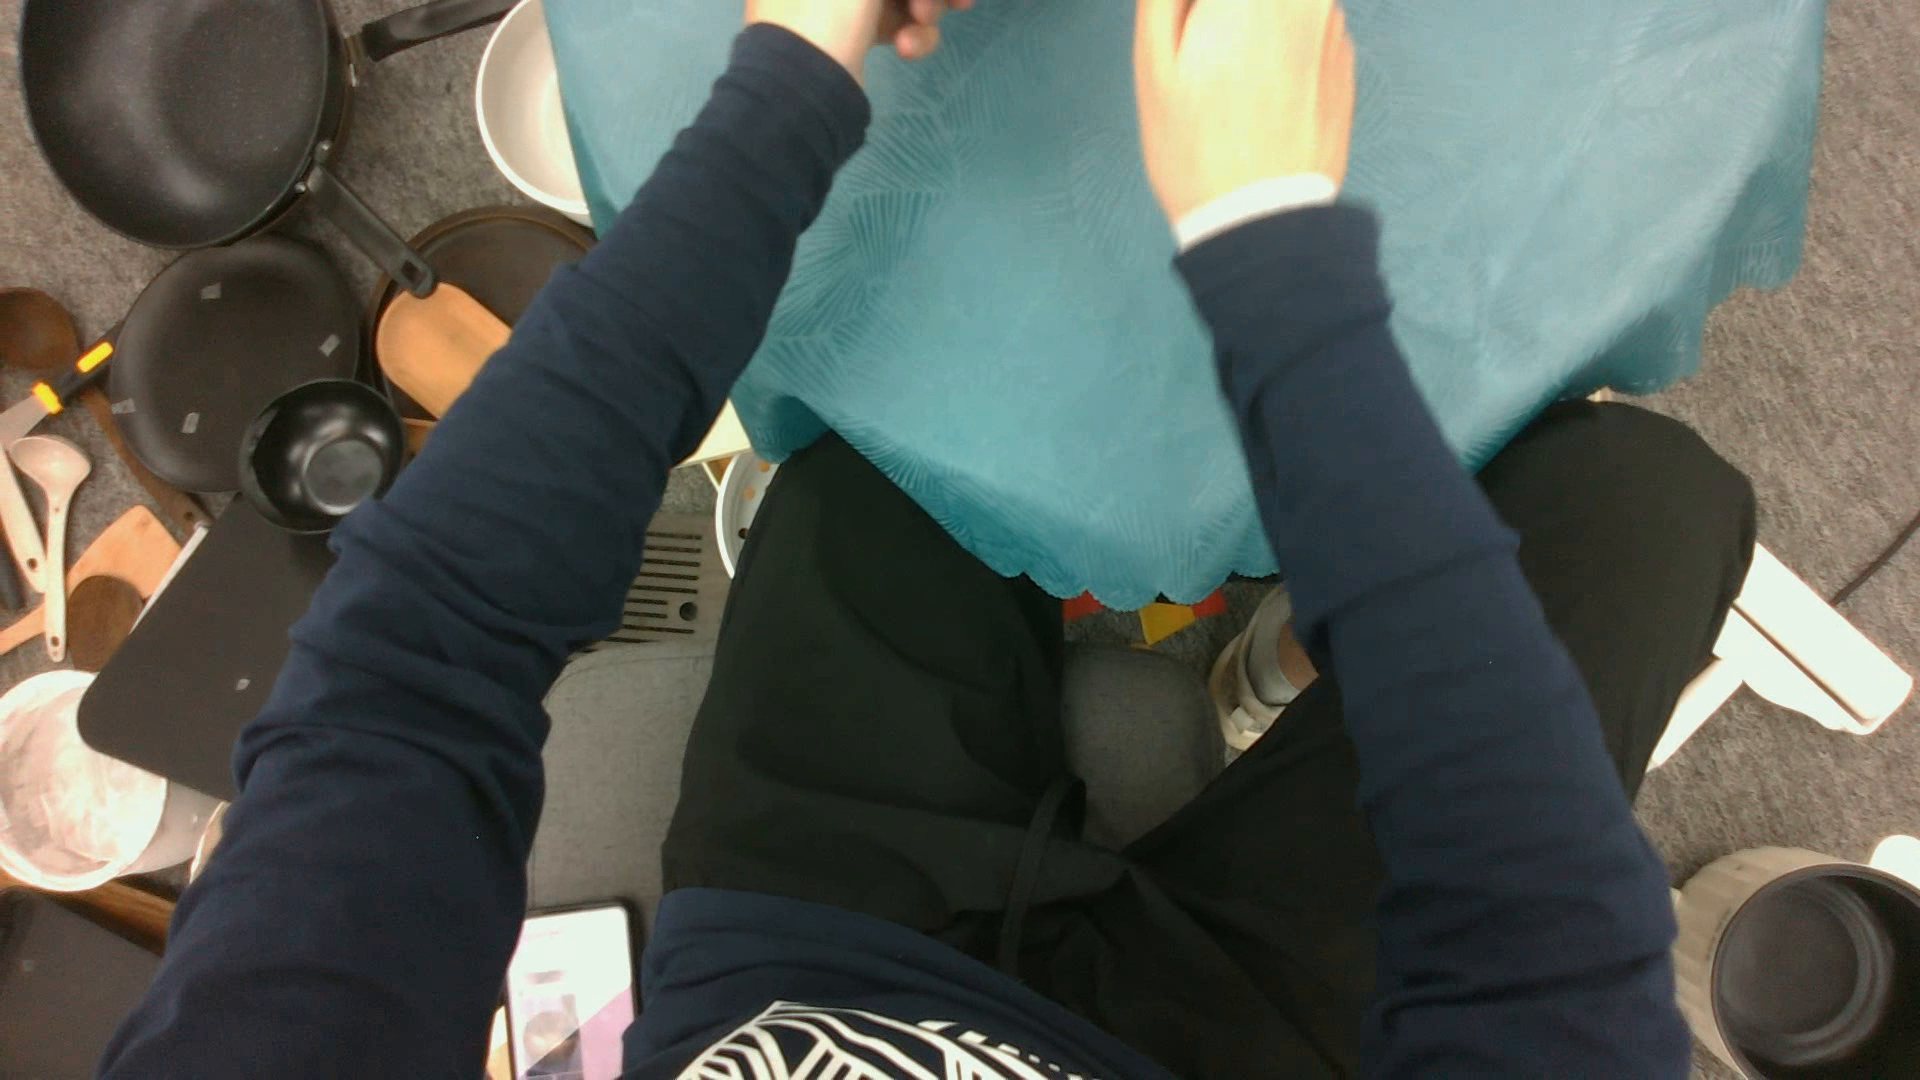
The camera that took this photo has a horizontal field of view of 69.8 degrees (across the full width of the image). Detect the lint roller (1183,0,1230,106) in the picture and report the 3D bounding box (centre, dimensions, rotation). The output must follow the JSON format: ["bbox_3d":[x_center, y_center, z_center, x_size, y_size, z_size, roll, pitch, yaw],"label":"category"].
[{"bbox_3d":[0.094,-0.249,0.487,0.048,0.135,0.180,-7,95,28],"label":"lint roller"}]

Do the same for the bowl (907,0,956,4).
[{"bbox_3d":[0.025,-0.281,0.536,0.067,0.137,0.170,22,78,-35],"label":"bowl"}]
